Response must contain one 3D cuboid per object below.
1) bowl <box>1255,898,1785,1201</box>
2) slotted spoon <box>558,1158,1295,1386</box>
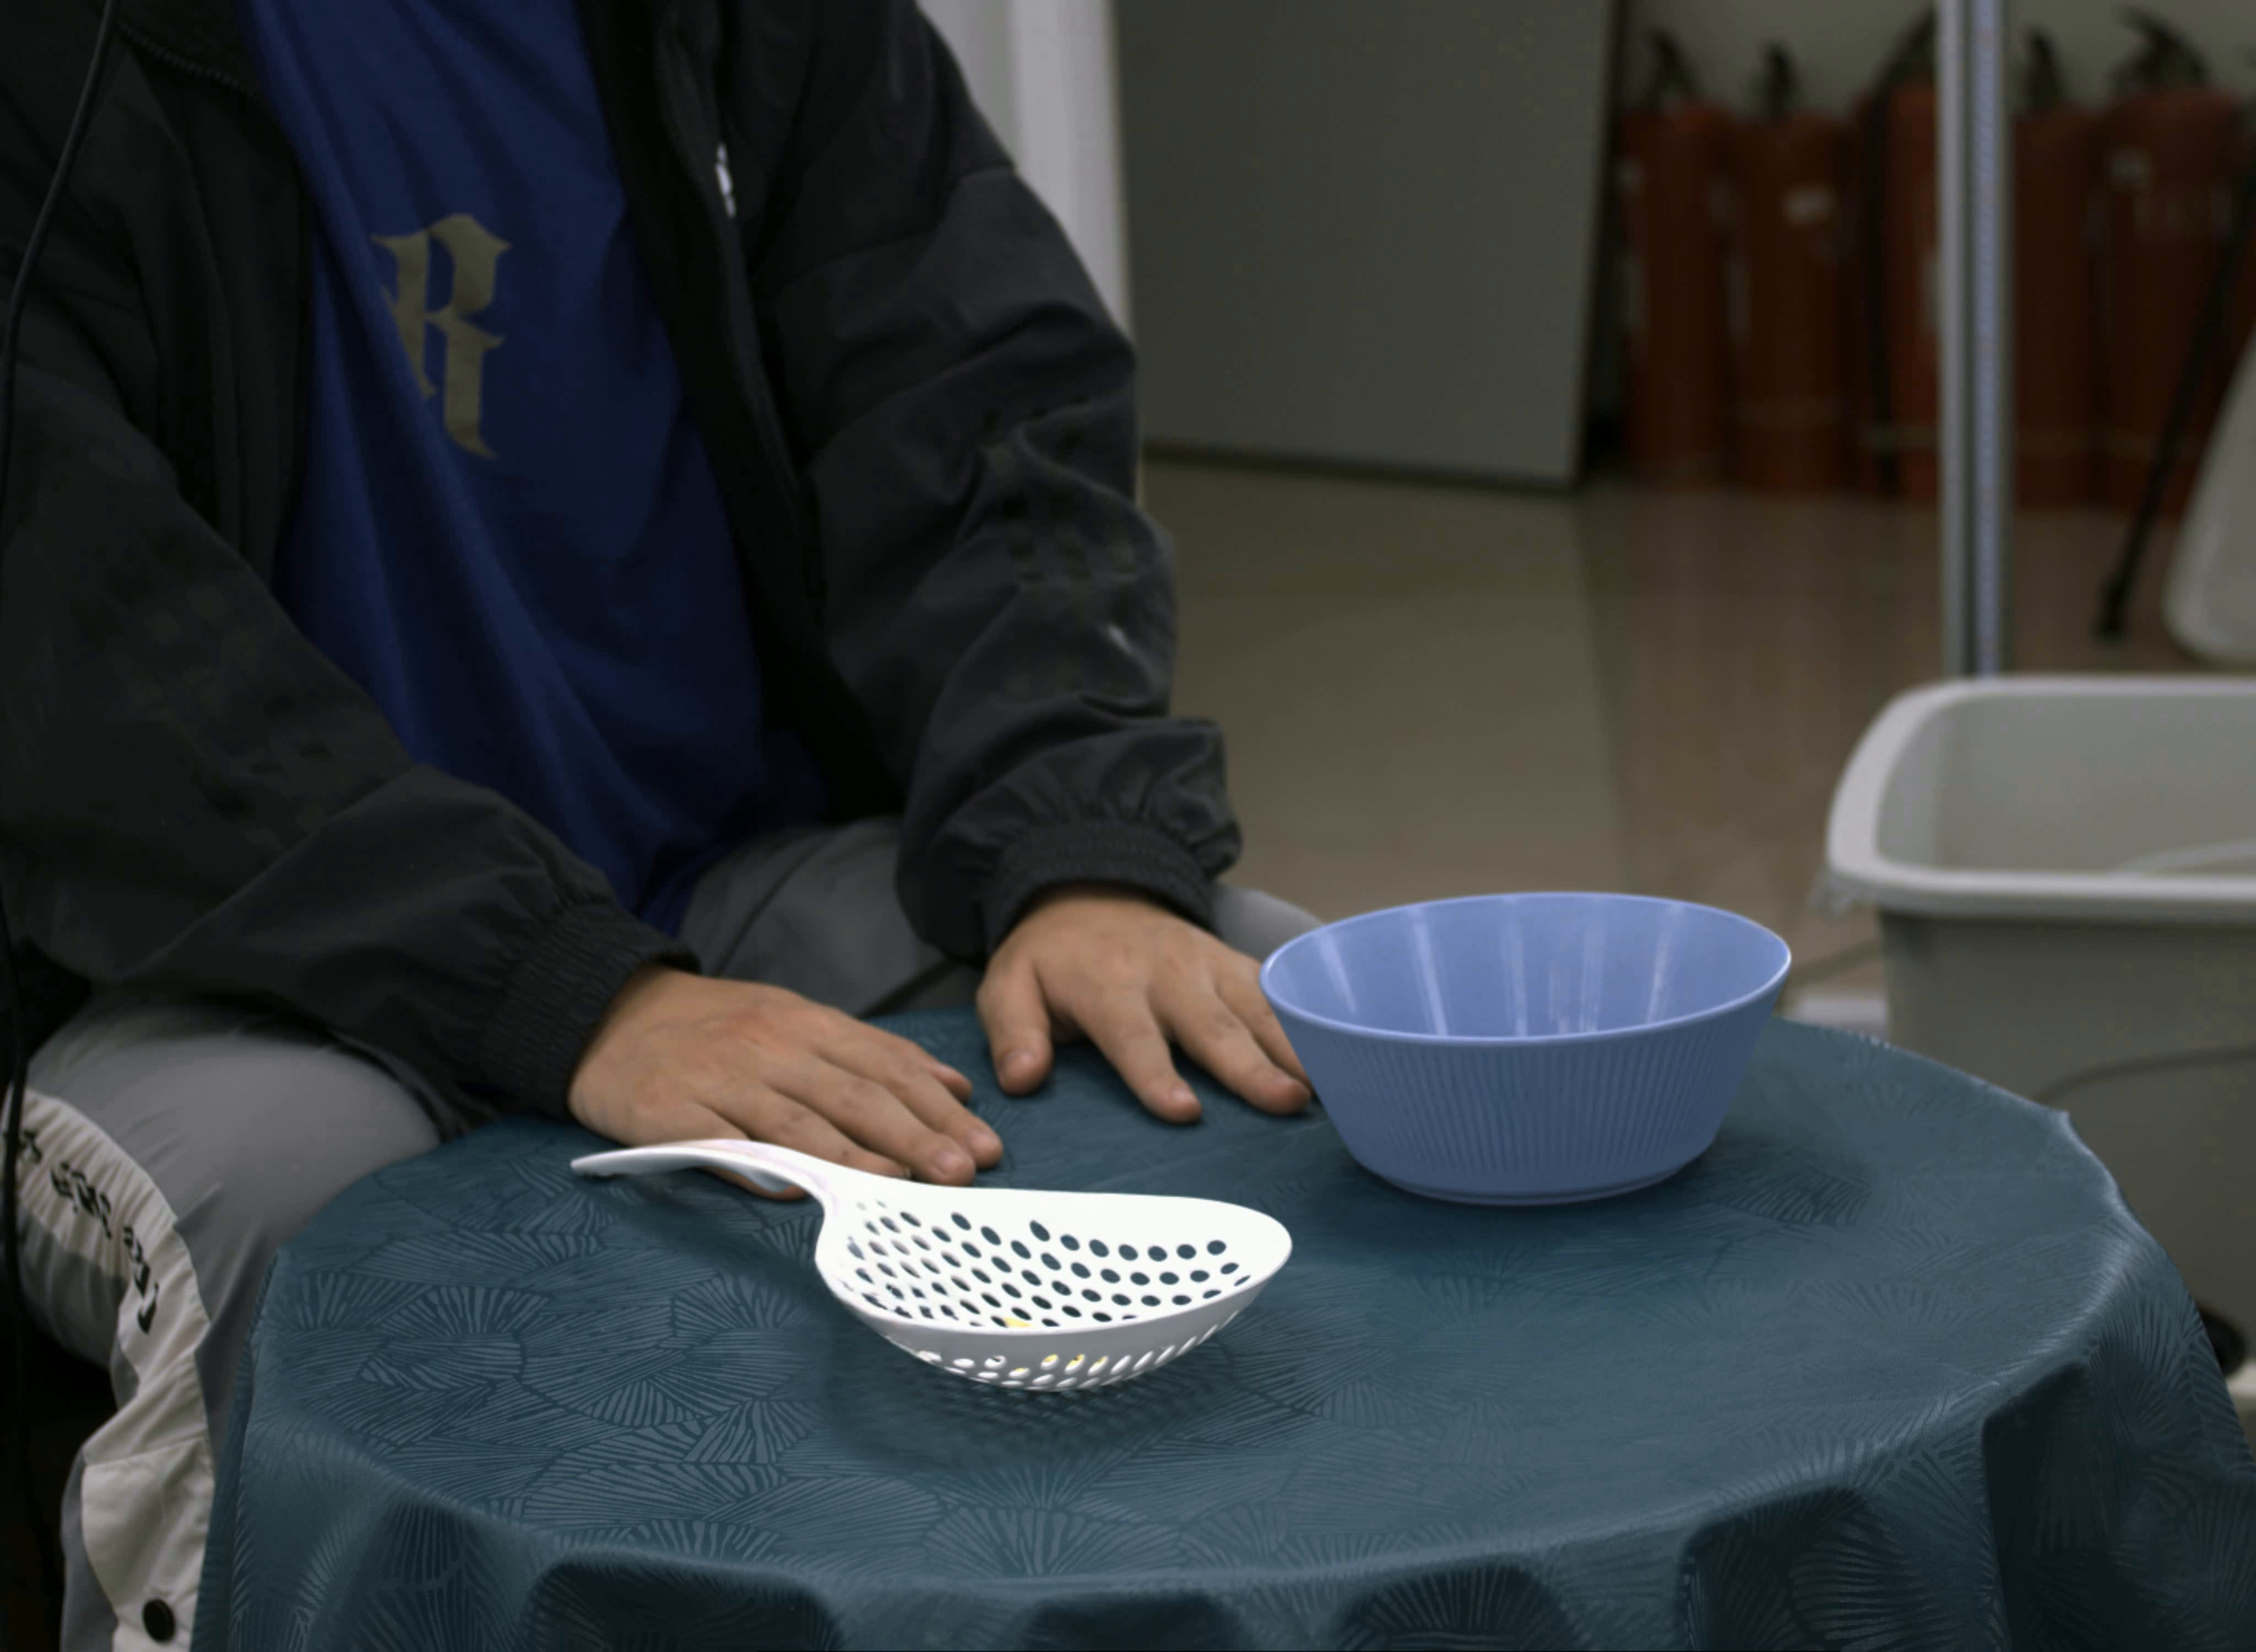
[{"bbox_3d":[0.129,0.075,1.771,0.174,0.071,0.176,-3,13,0],"label":"bowl"},{"bbox_3d":[-0.081,0.126,1.685,0.134,0.051,0.351,-17,18,-33],"label":"slotted spoon"}]
